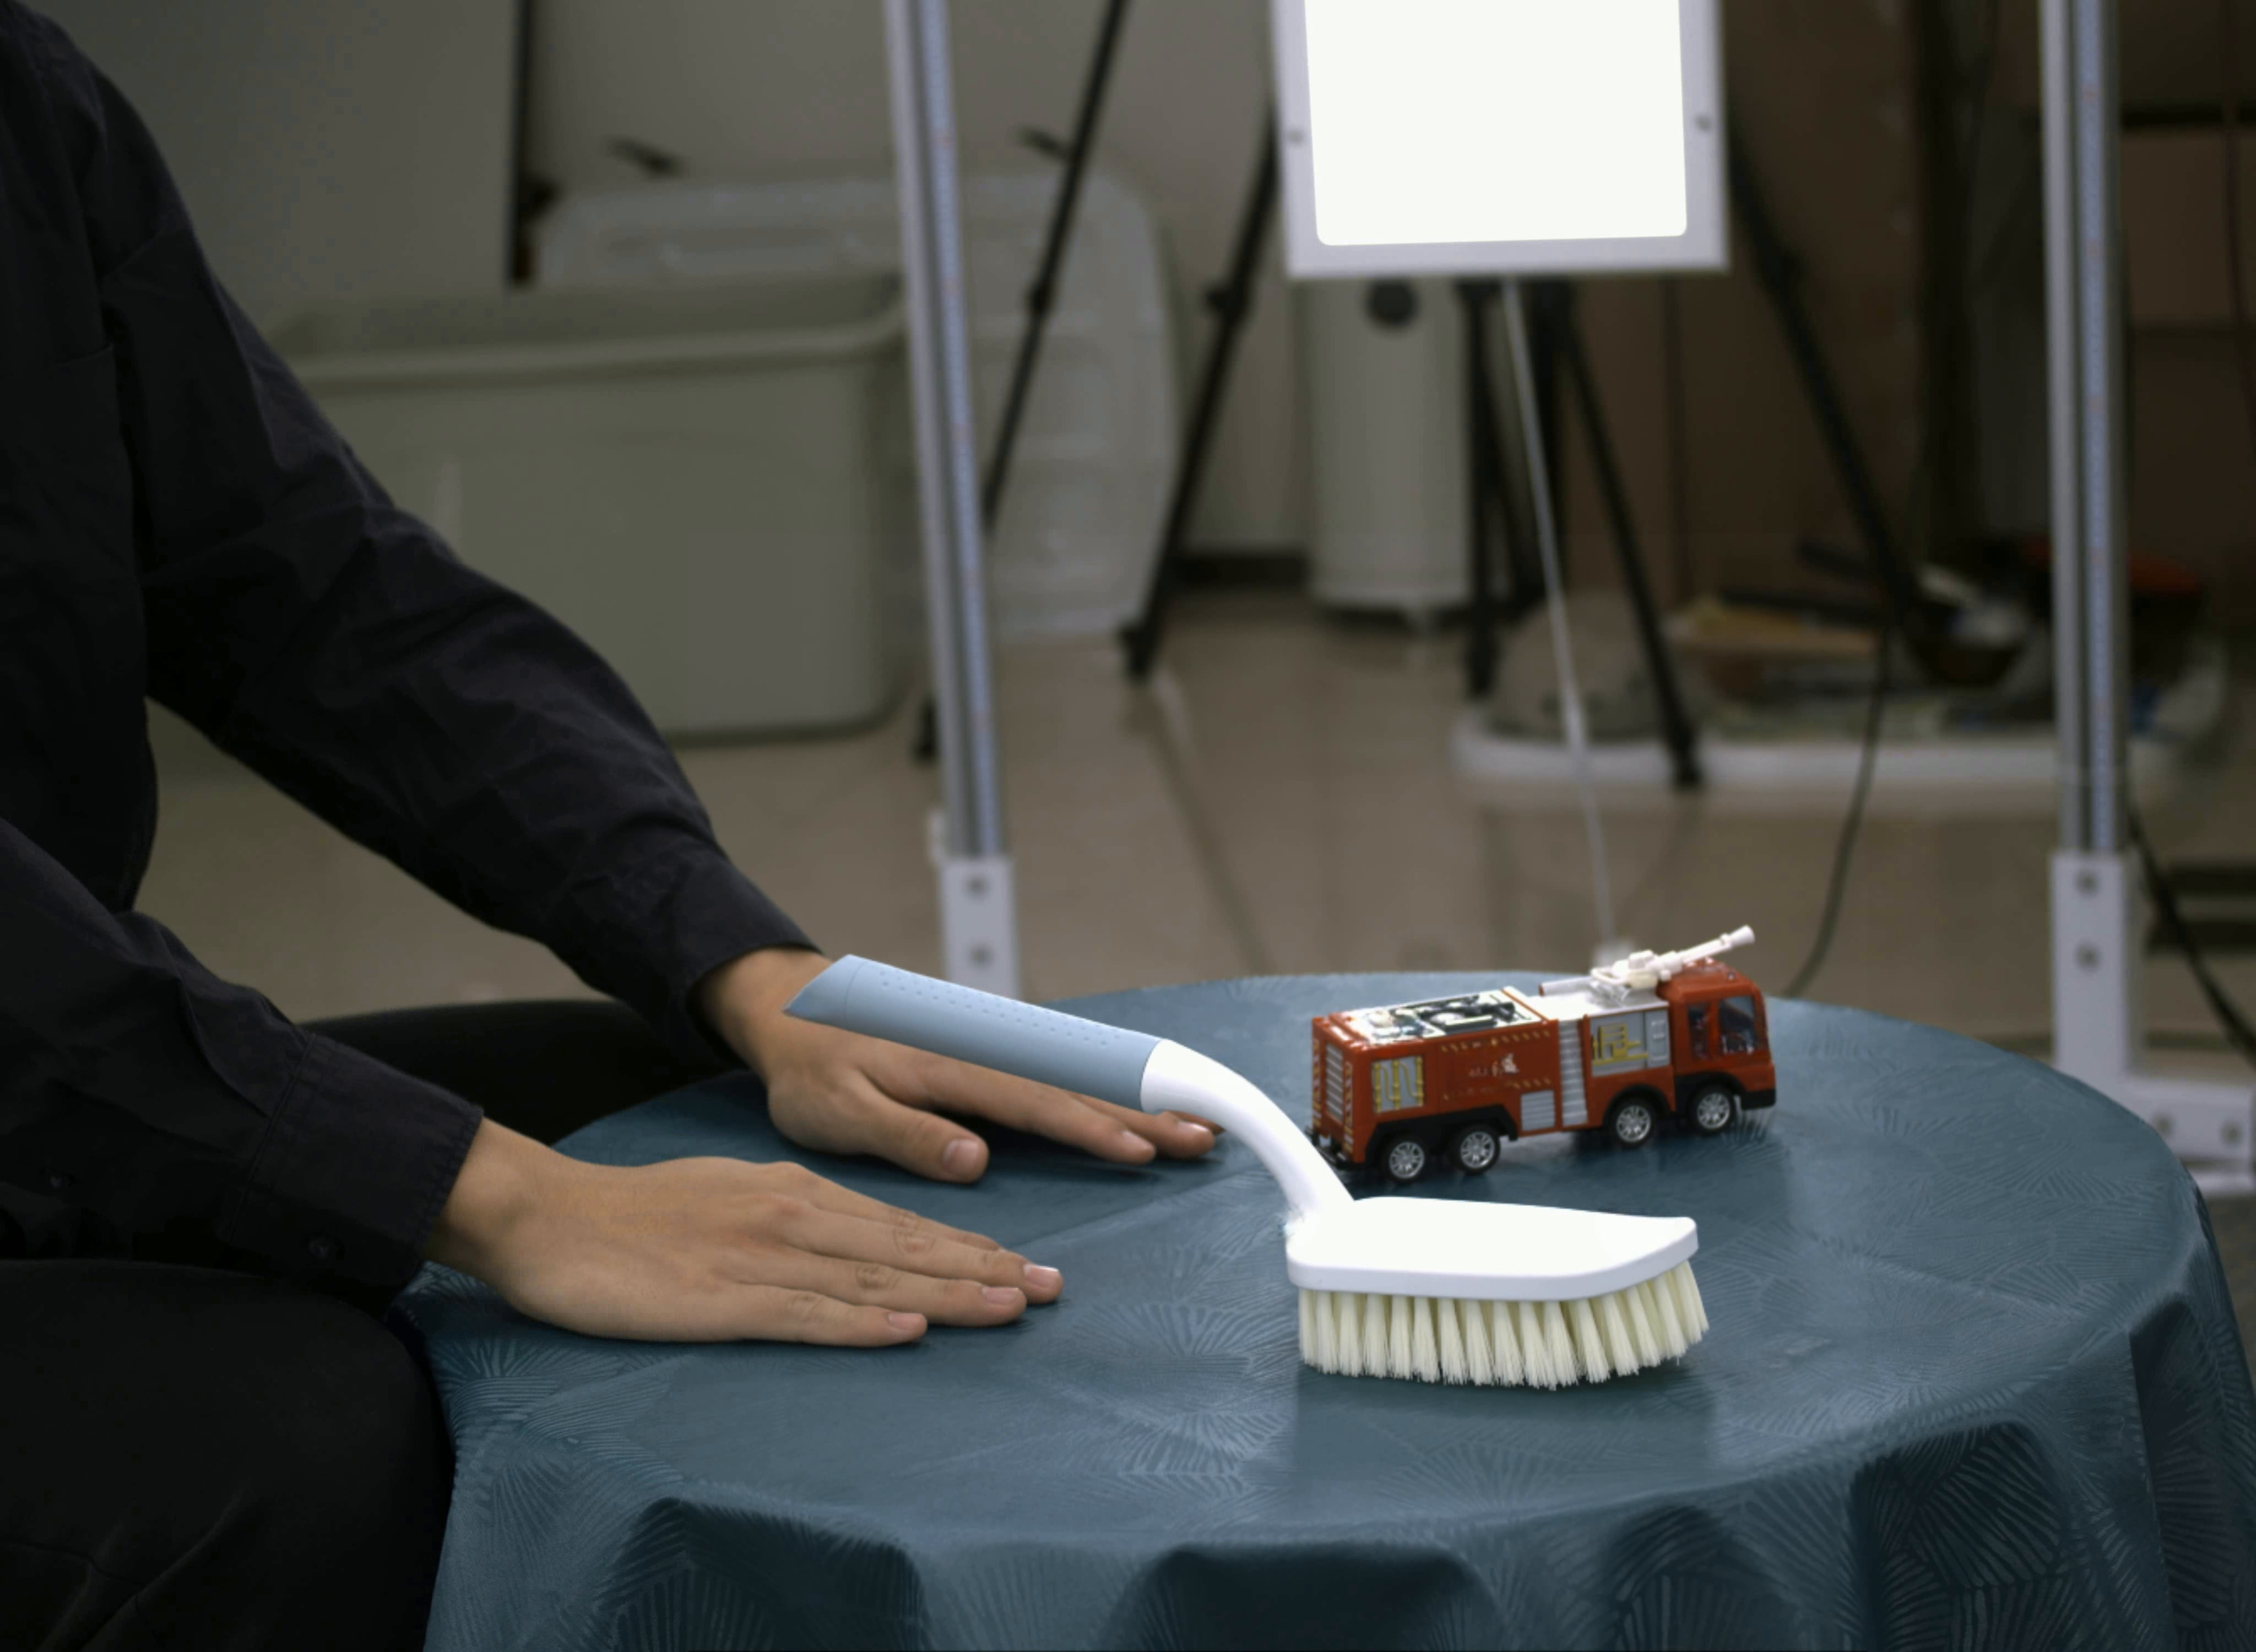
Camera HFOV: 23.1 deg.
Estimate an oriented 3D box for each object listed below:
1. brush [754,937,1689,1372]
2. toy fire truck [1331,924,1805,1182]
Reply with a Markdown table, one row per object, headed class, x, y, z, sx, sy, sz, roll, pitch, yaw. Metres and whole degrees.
| class | x | y | z | sx | sy | sz | roll | pitch | yaw |
| --- | --- | --- | --- | --- | --- | --- | --- | --- | --- |
| brush | 0.024 | 0.118 | 1.747 | 0.330 | 0.084 | 0.082 | 14 | -17 | 24 |
| toy fire truck | 0.154 | 0.080 | 1.901 | 0.165 | 0.070 | 0.054 | -9 | 14 | -15 |
